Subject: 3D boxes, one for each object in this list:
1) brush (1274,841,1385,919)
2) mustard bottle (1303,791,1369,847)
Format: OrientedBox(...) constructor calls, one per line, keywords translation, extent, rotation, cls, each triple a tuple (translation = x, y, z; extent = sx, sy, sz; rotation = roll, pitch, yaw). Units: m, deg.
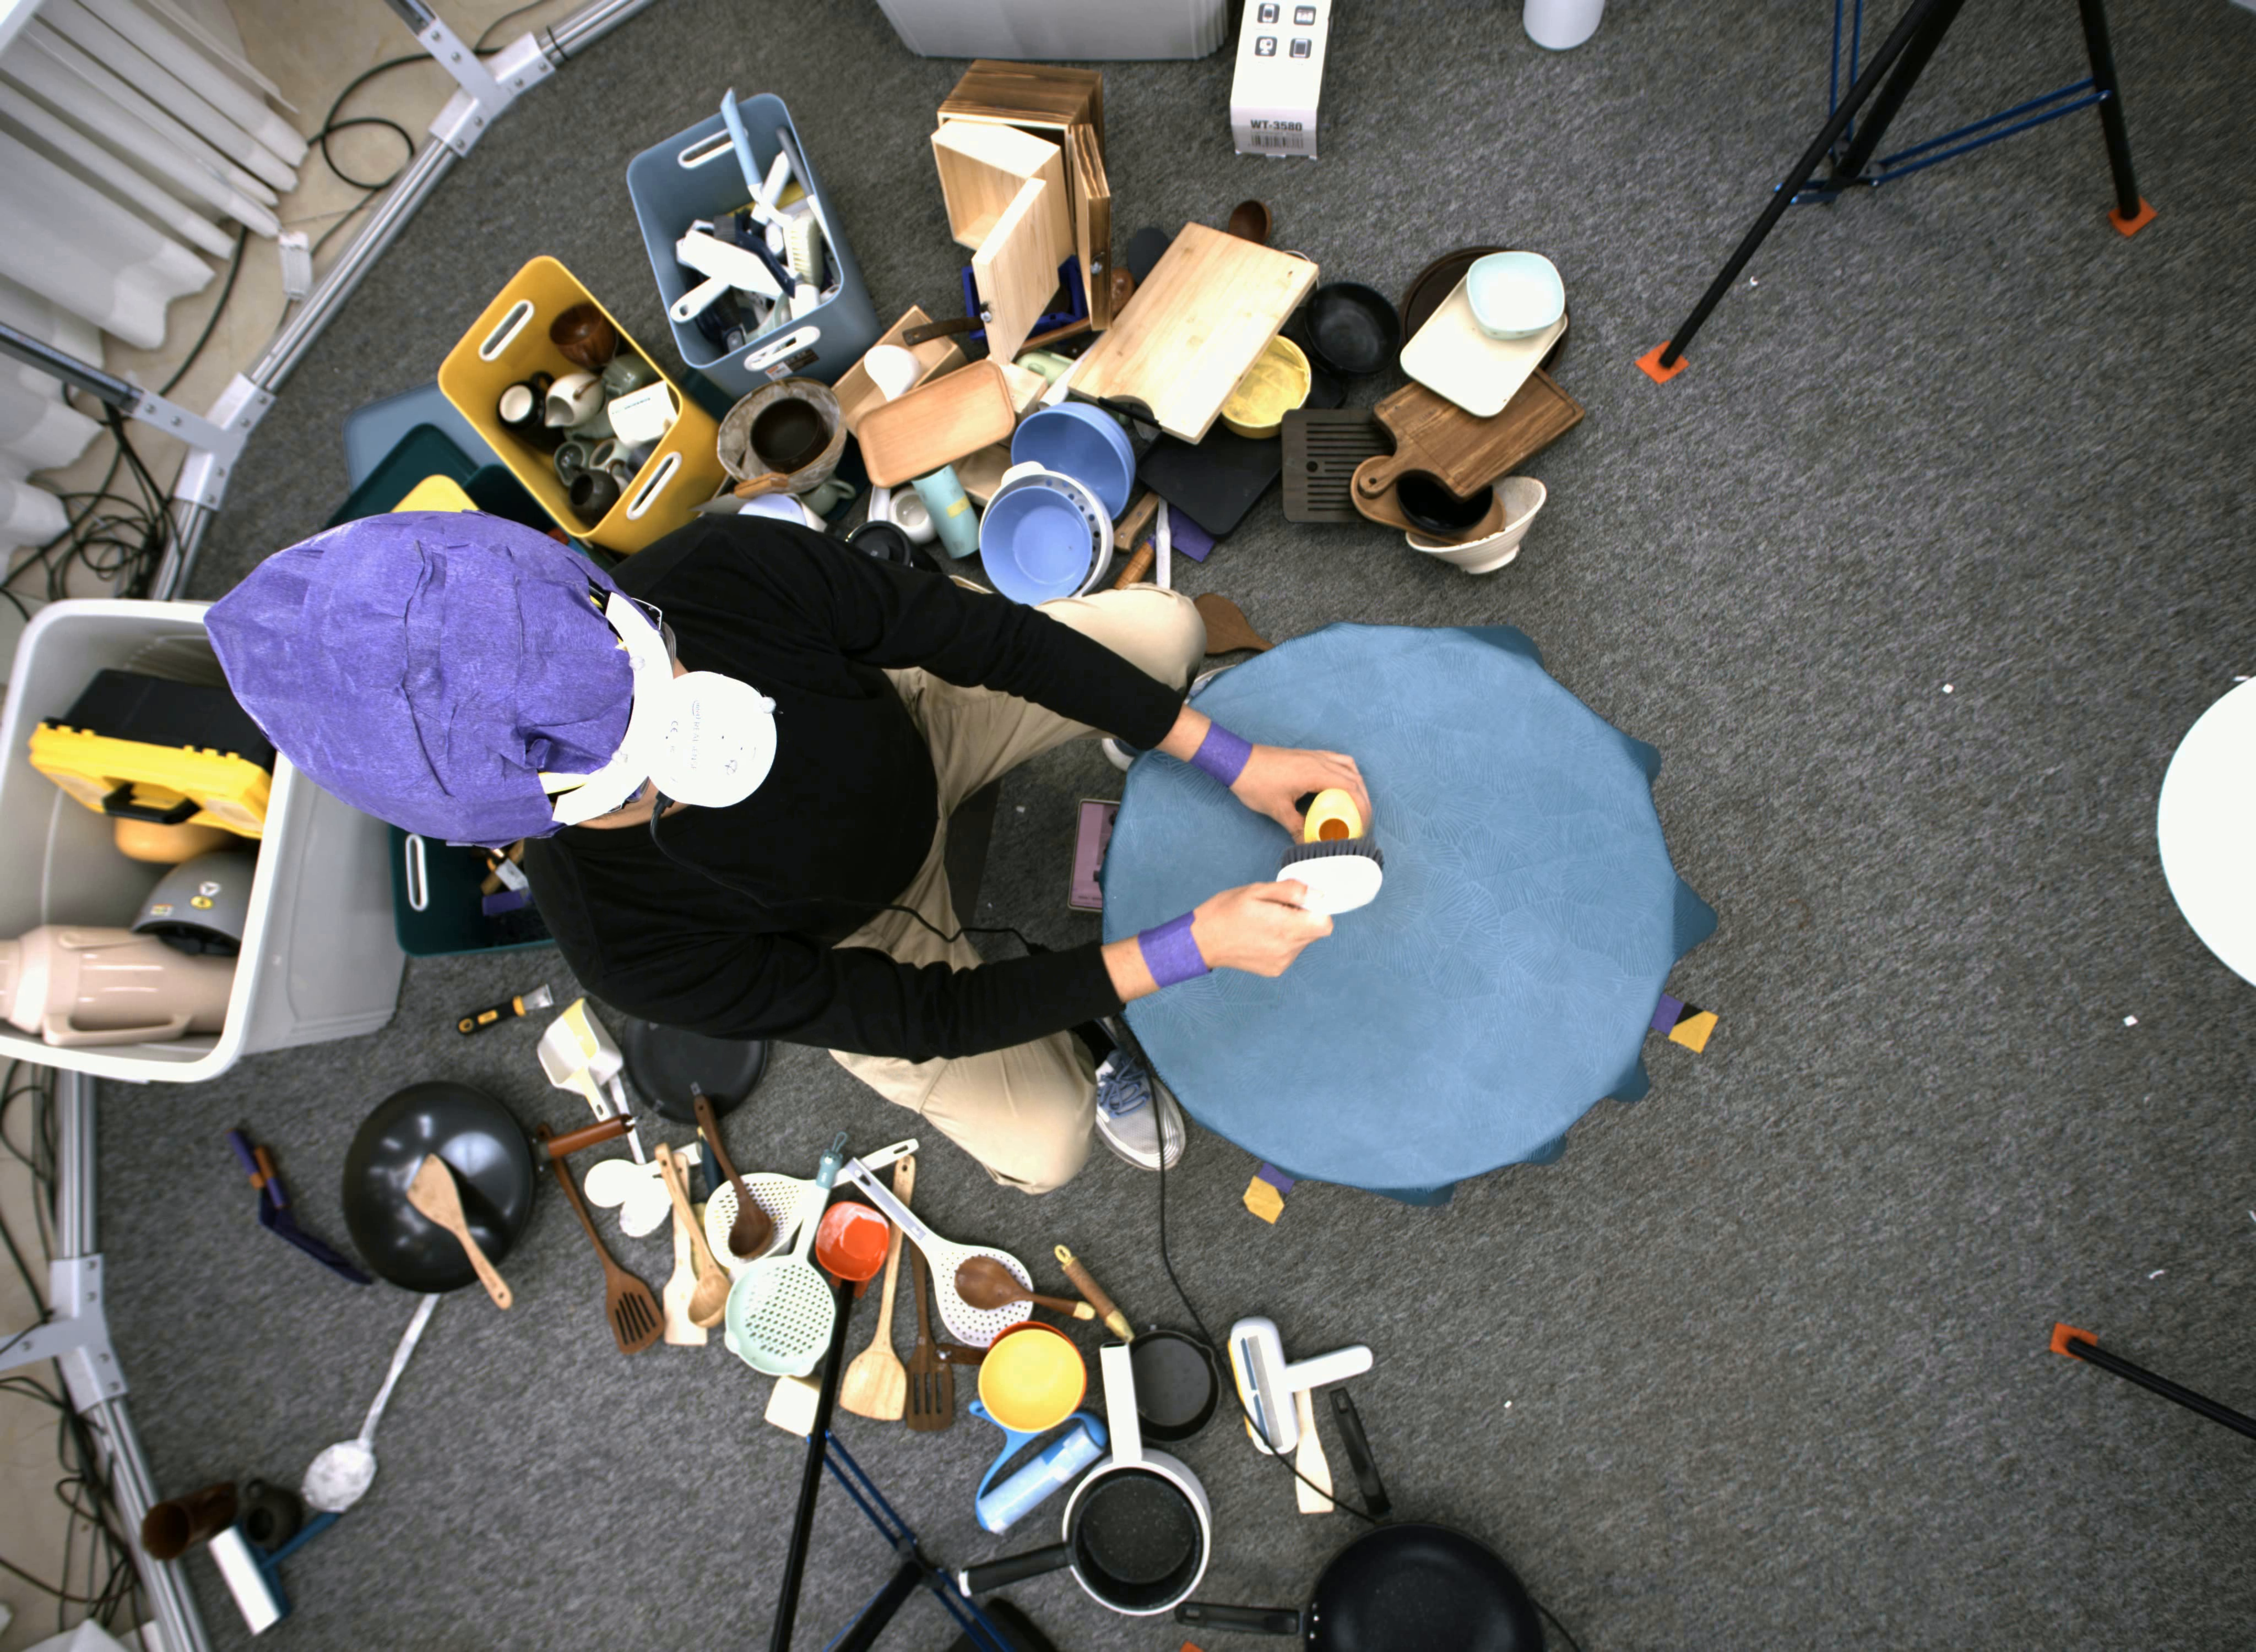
OrientedBox(translation=(0.182, 0.055, 1.266), extent=(0.100, 0.070, 0.051), rotation=(-6, 125, 21), cls="brush")
OrientedBox(translation=(0.210, 0.016, 1.388), extent=(0.059, 0.172, 0.098), rotation=(-6, 85, 12), cls="mustard bottle")
